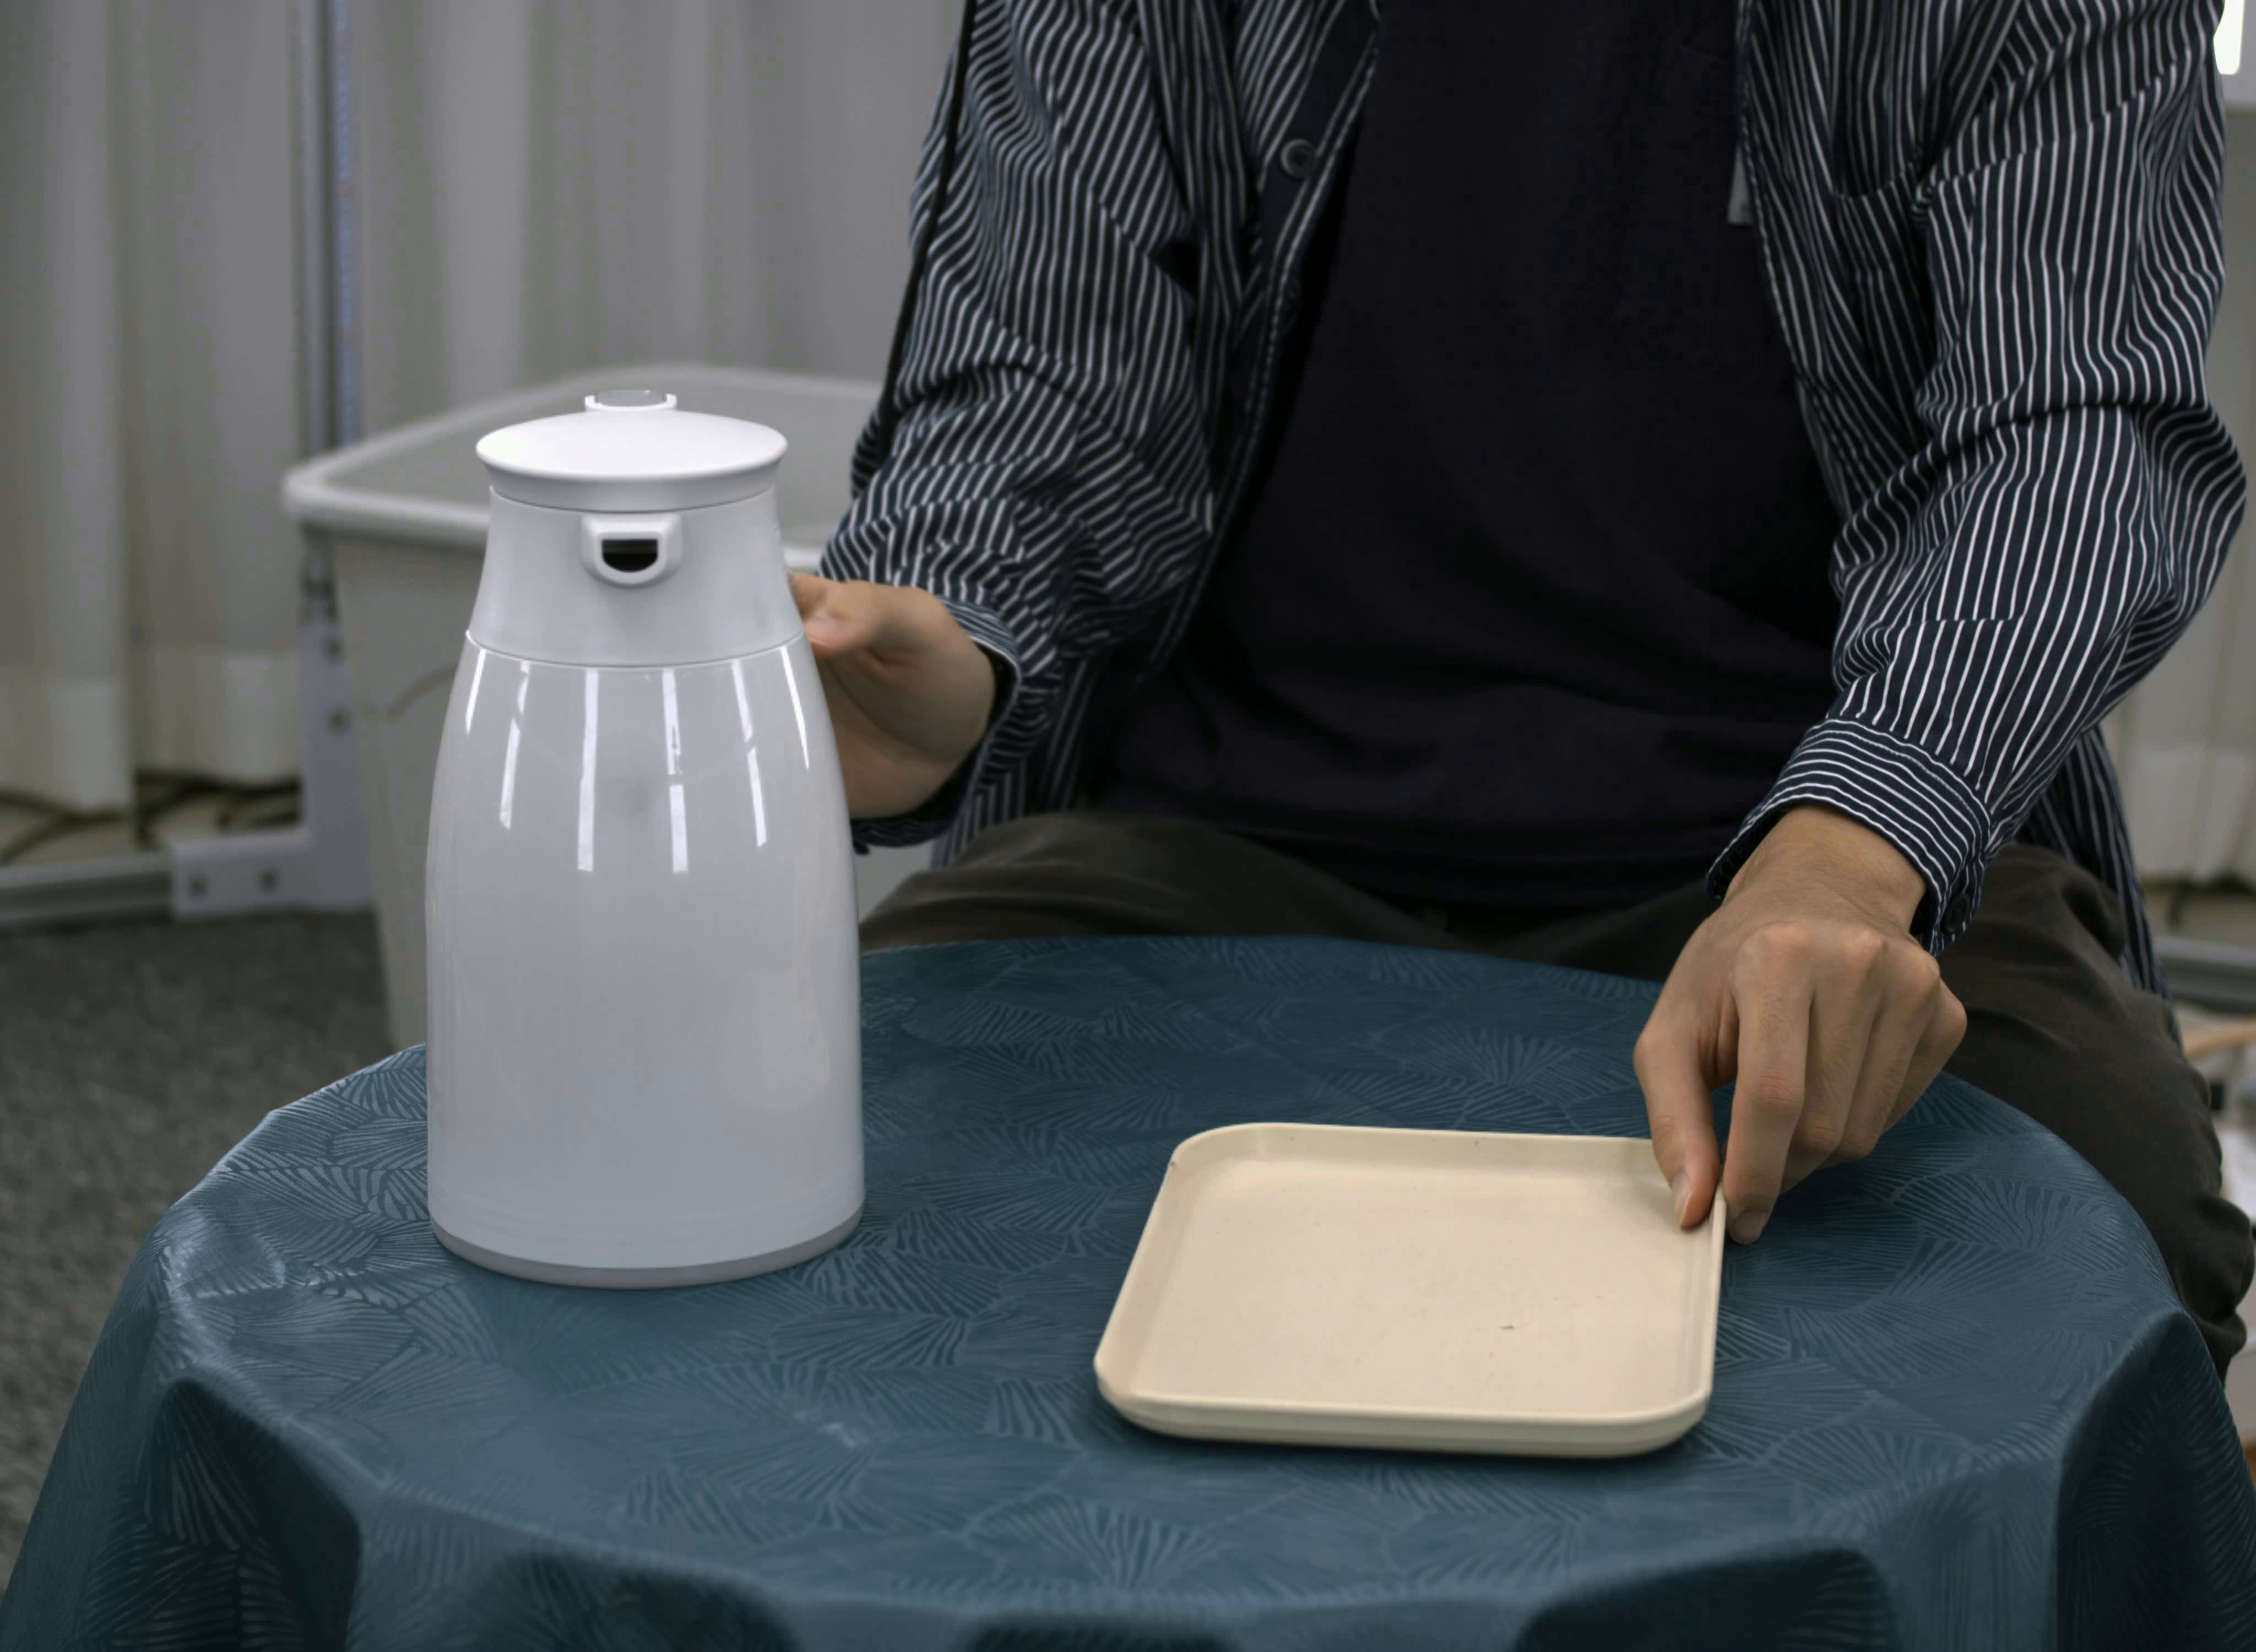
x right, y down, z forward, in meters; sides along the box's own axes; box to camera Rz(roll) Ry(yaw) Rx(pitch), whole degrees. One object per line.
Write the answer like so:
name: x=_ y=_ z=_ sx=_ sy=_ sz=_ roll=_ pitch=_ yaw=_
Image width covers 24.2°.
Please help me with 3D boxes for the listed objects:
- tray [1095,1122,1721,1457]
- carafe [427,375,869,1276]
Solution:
tray: x=0.085 y=0.133 z=1.525 sx=0.170 sy=0.017 sz=0.239 roll=3 pitch=15 yaw=7
carafe: x=-0.149 y=-0.009 z=1.587 sx=0.132 sy=0.250 sz=0.166 roll=-3 pitch=15 yaw=-9
